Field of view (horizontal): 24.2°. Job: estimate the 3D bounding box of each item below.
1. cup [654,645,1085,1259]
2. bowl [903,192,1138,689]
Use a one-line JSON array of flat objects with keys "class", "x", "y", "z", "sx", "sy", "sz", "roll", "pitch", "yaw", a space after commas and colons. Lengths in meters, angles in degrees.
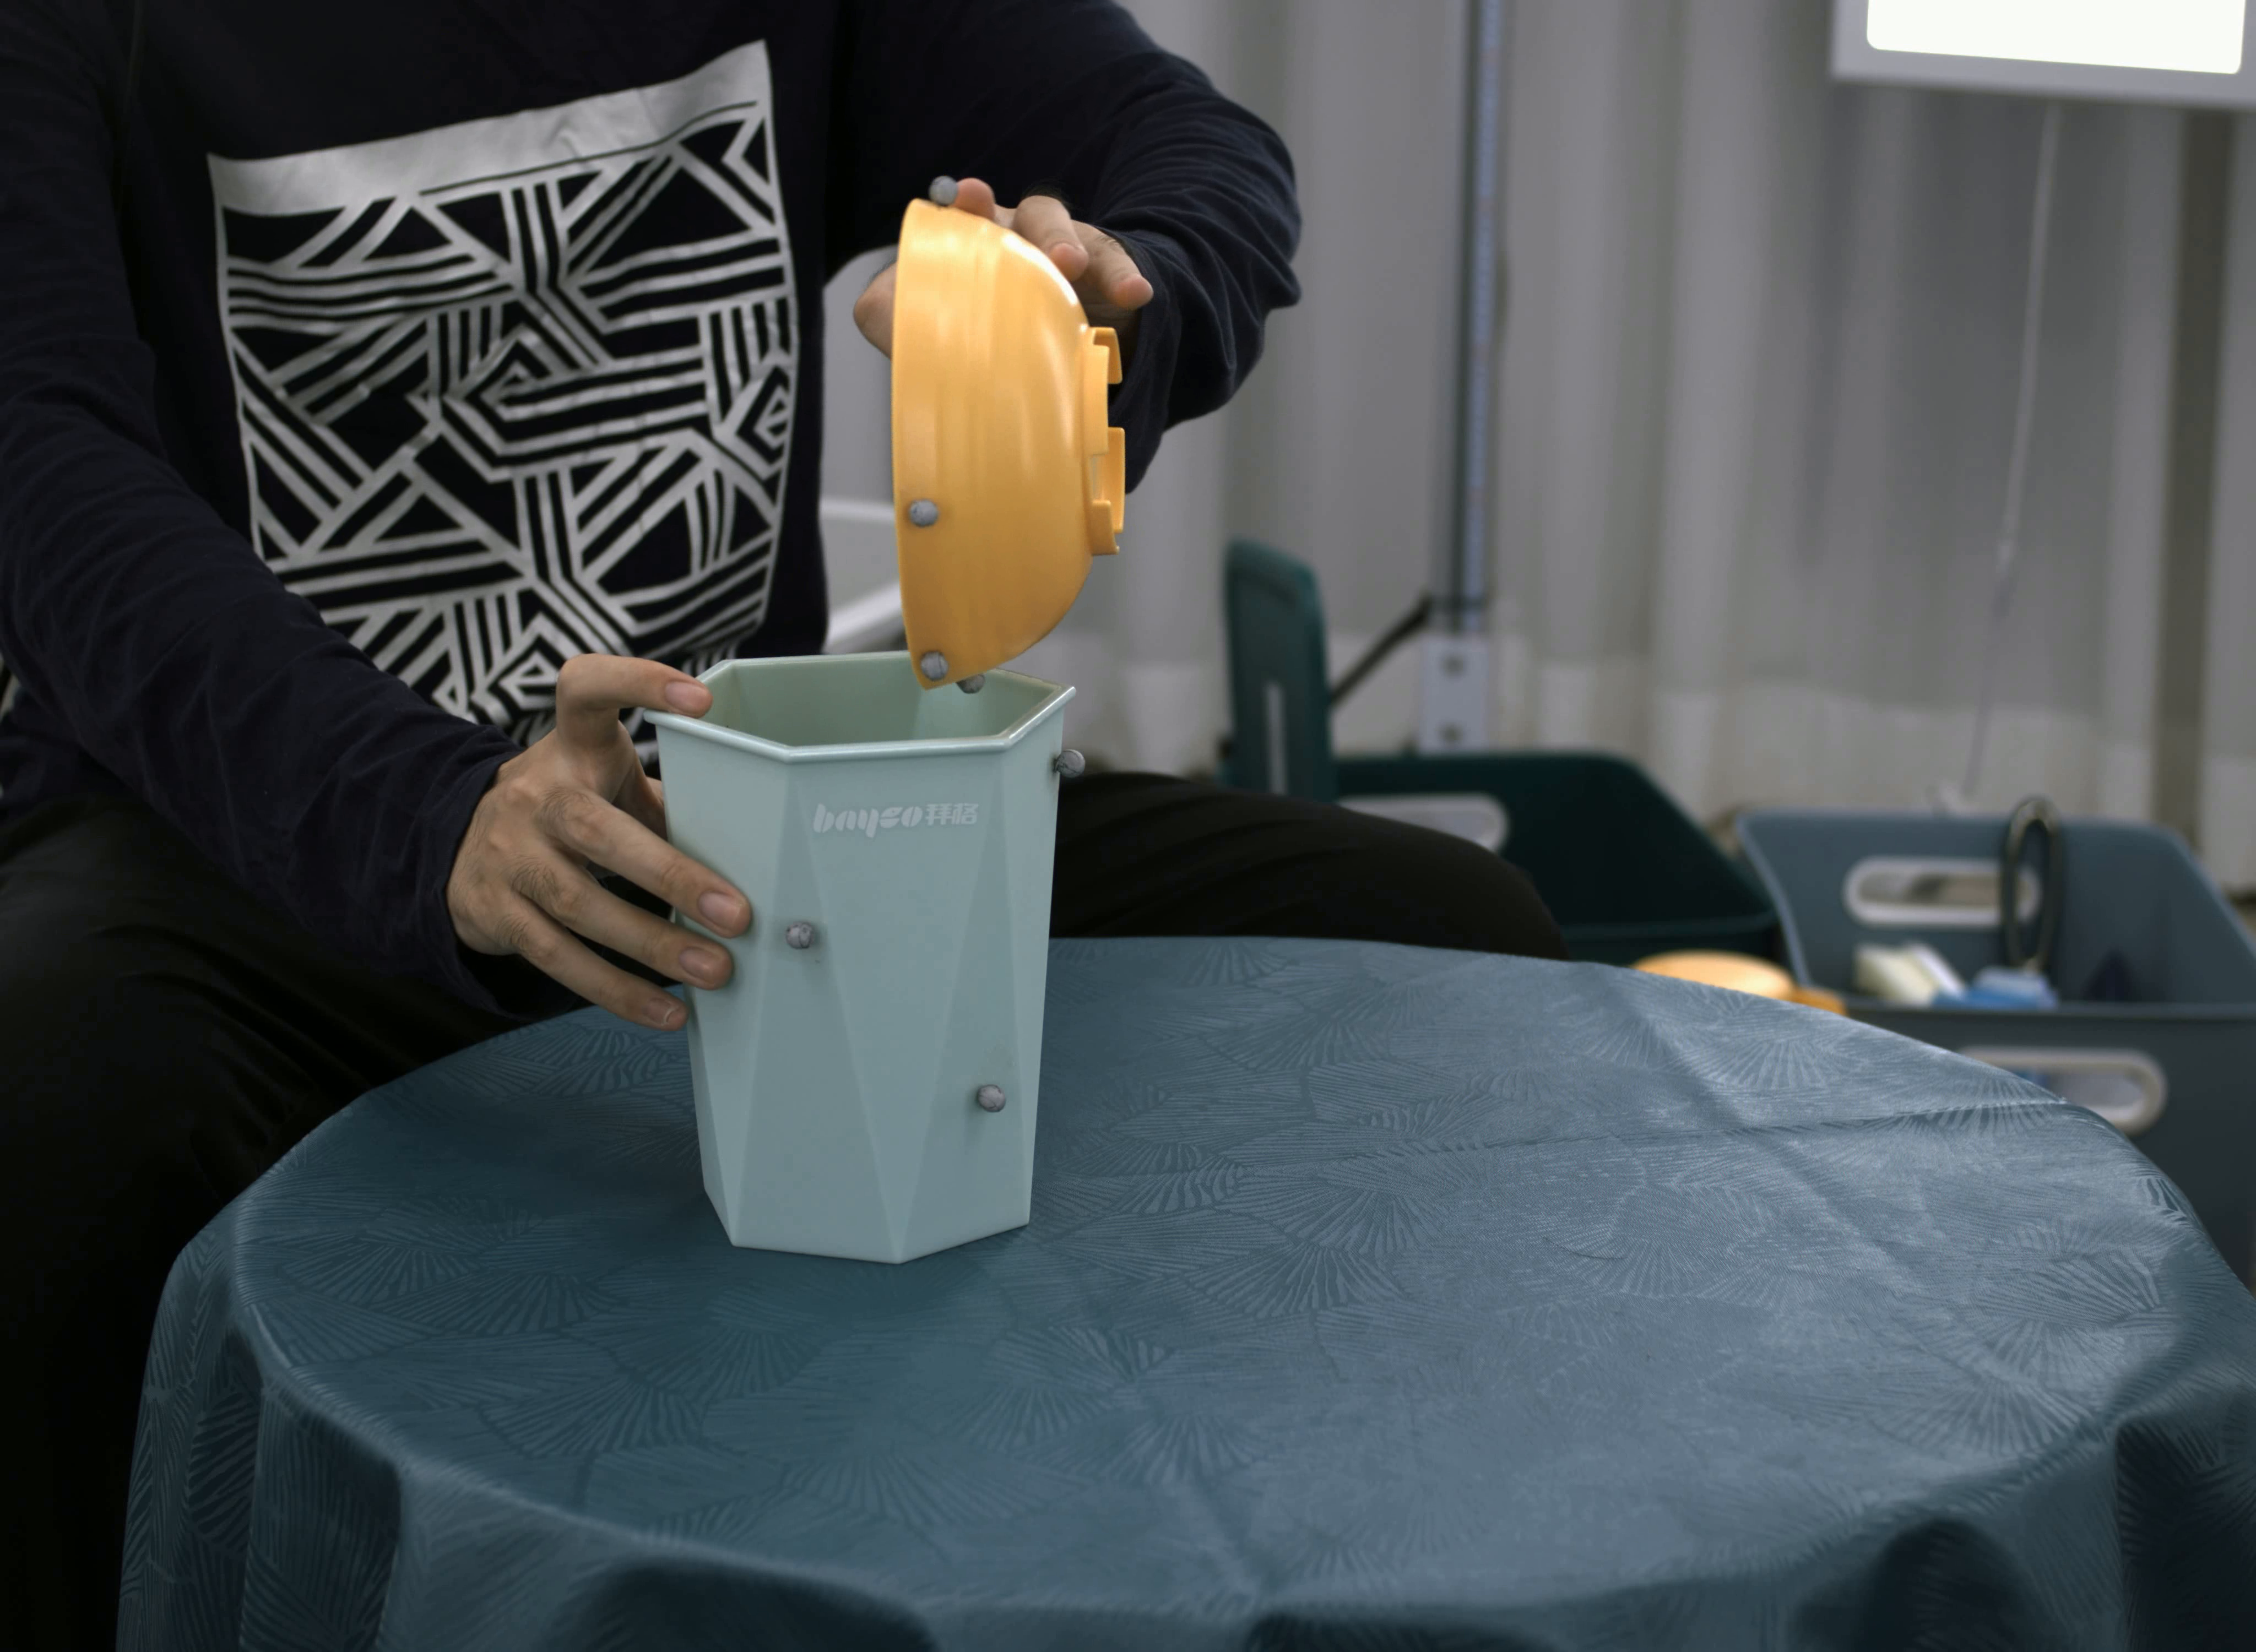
[{"class": "cup", "x": -0.077, "y": 0.037, "z": 1.585, "sx": 0.131, "sy": 0.164, "sz": 0.114, "roll": -3, "pitch": 15, "yaw": -15}, {"class": "bowl", "x": -0.029, "y": -0.112, "z": 1.542, "sx": 0.060, "sy": 0.146, "sz": 0.145, "roll": 2, "pitch": 16, "yaw": 5}]
